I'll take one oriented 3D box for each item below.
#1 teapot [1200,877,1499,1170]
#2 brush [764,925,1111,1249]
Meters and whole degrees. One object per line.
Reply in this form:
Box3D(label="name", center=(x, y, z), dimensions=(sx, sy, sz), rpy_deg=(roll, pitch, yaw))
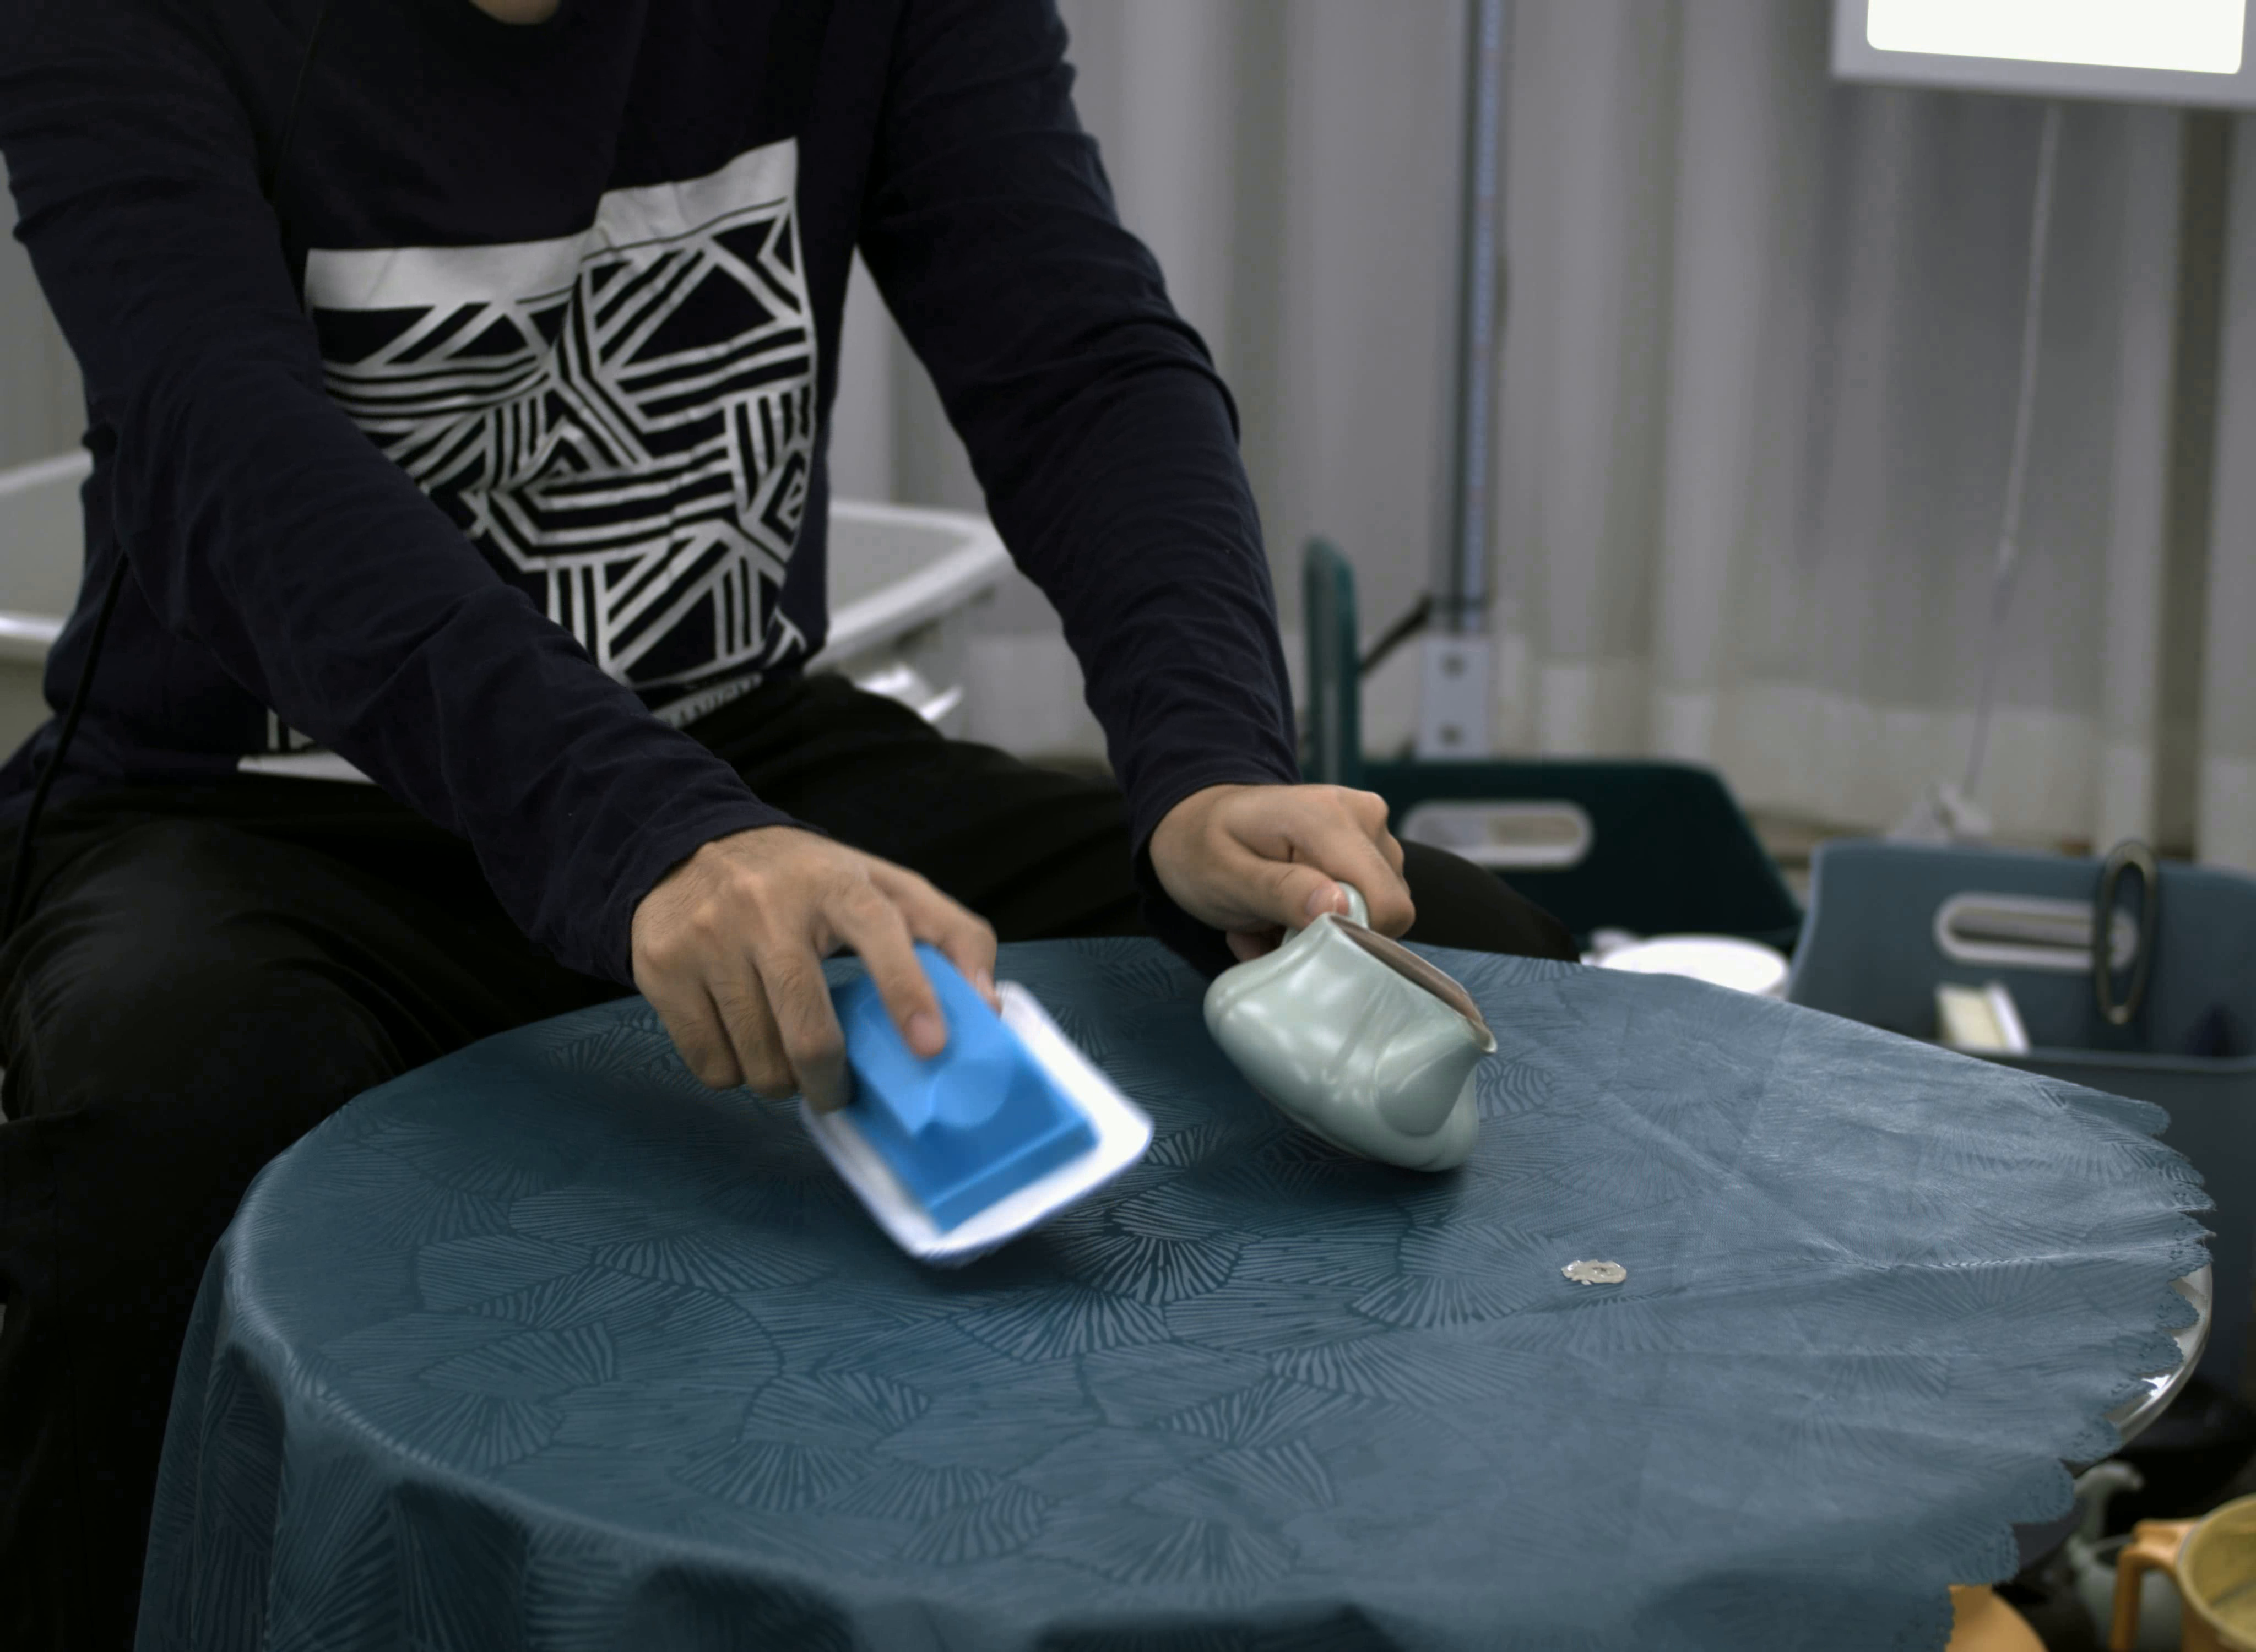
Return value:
Box3D(label="teapot", center=(0.071, 0.064, 1.648), dimensions=(0.097, 0.061, 0.135), rpy_deg=(22, 14, -29))
Box3D(label="brush", center=(-0.061, 0.074, 1.587), dimensions=(0.084, 0.056, 0.142), rpy_deg=(-22, 28, -10))
